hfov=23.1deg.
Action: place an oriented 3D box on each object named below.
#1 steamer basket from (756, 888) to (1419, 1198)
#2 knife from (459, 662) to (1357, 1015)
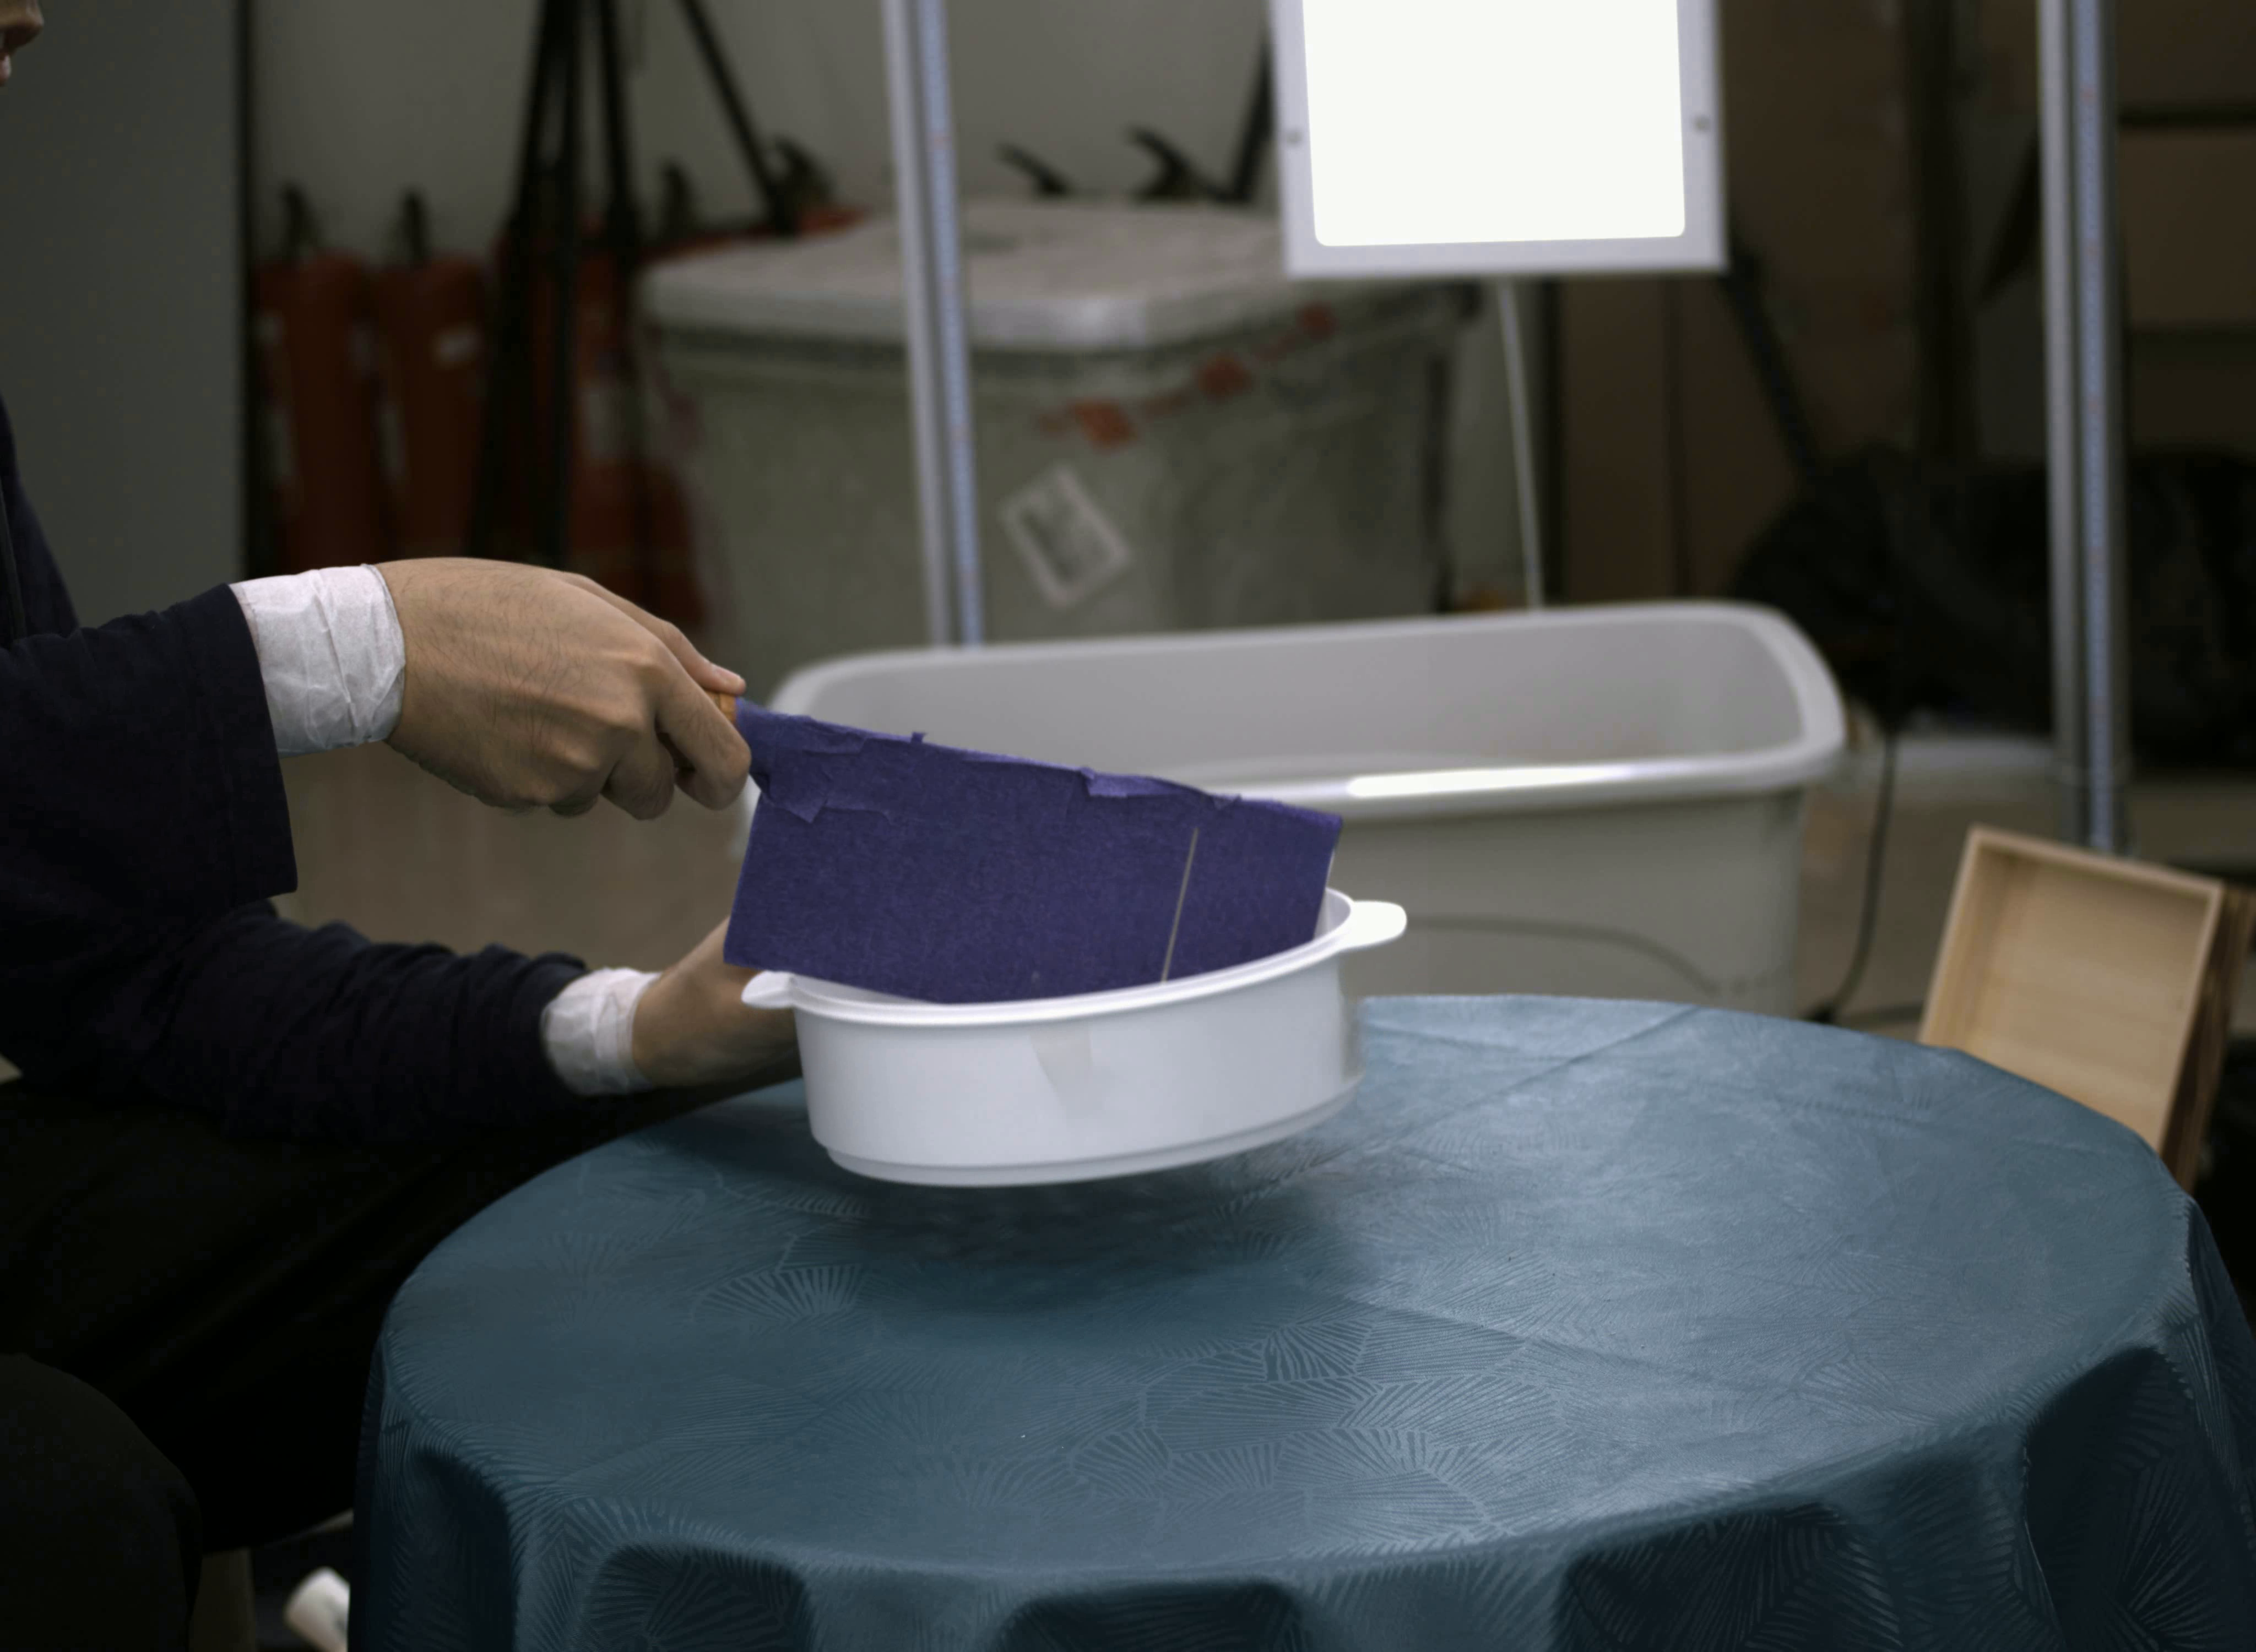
[{"bbox_3d":[-0.010,0.074,1.885,0.231,0.069,0.200,-9,9,7],"label":"steamer basket"},{"bbox_3d":[-0.077,0.014,1.870,0.311,0.104,0.032,10,12,-12],"label":"knife"}]
